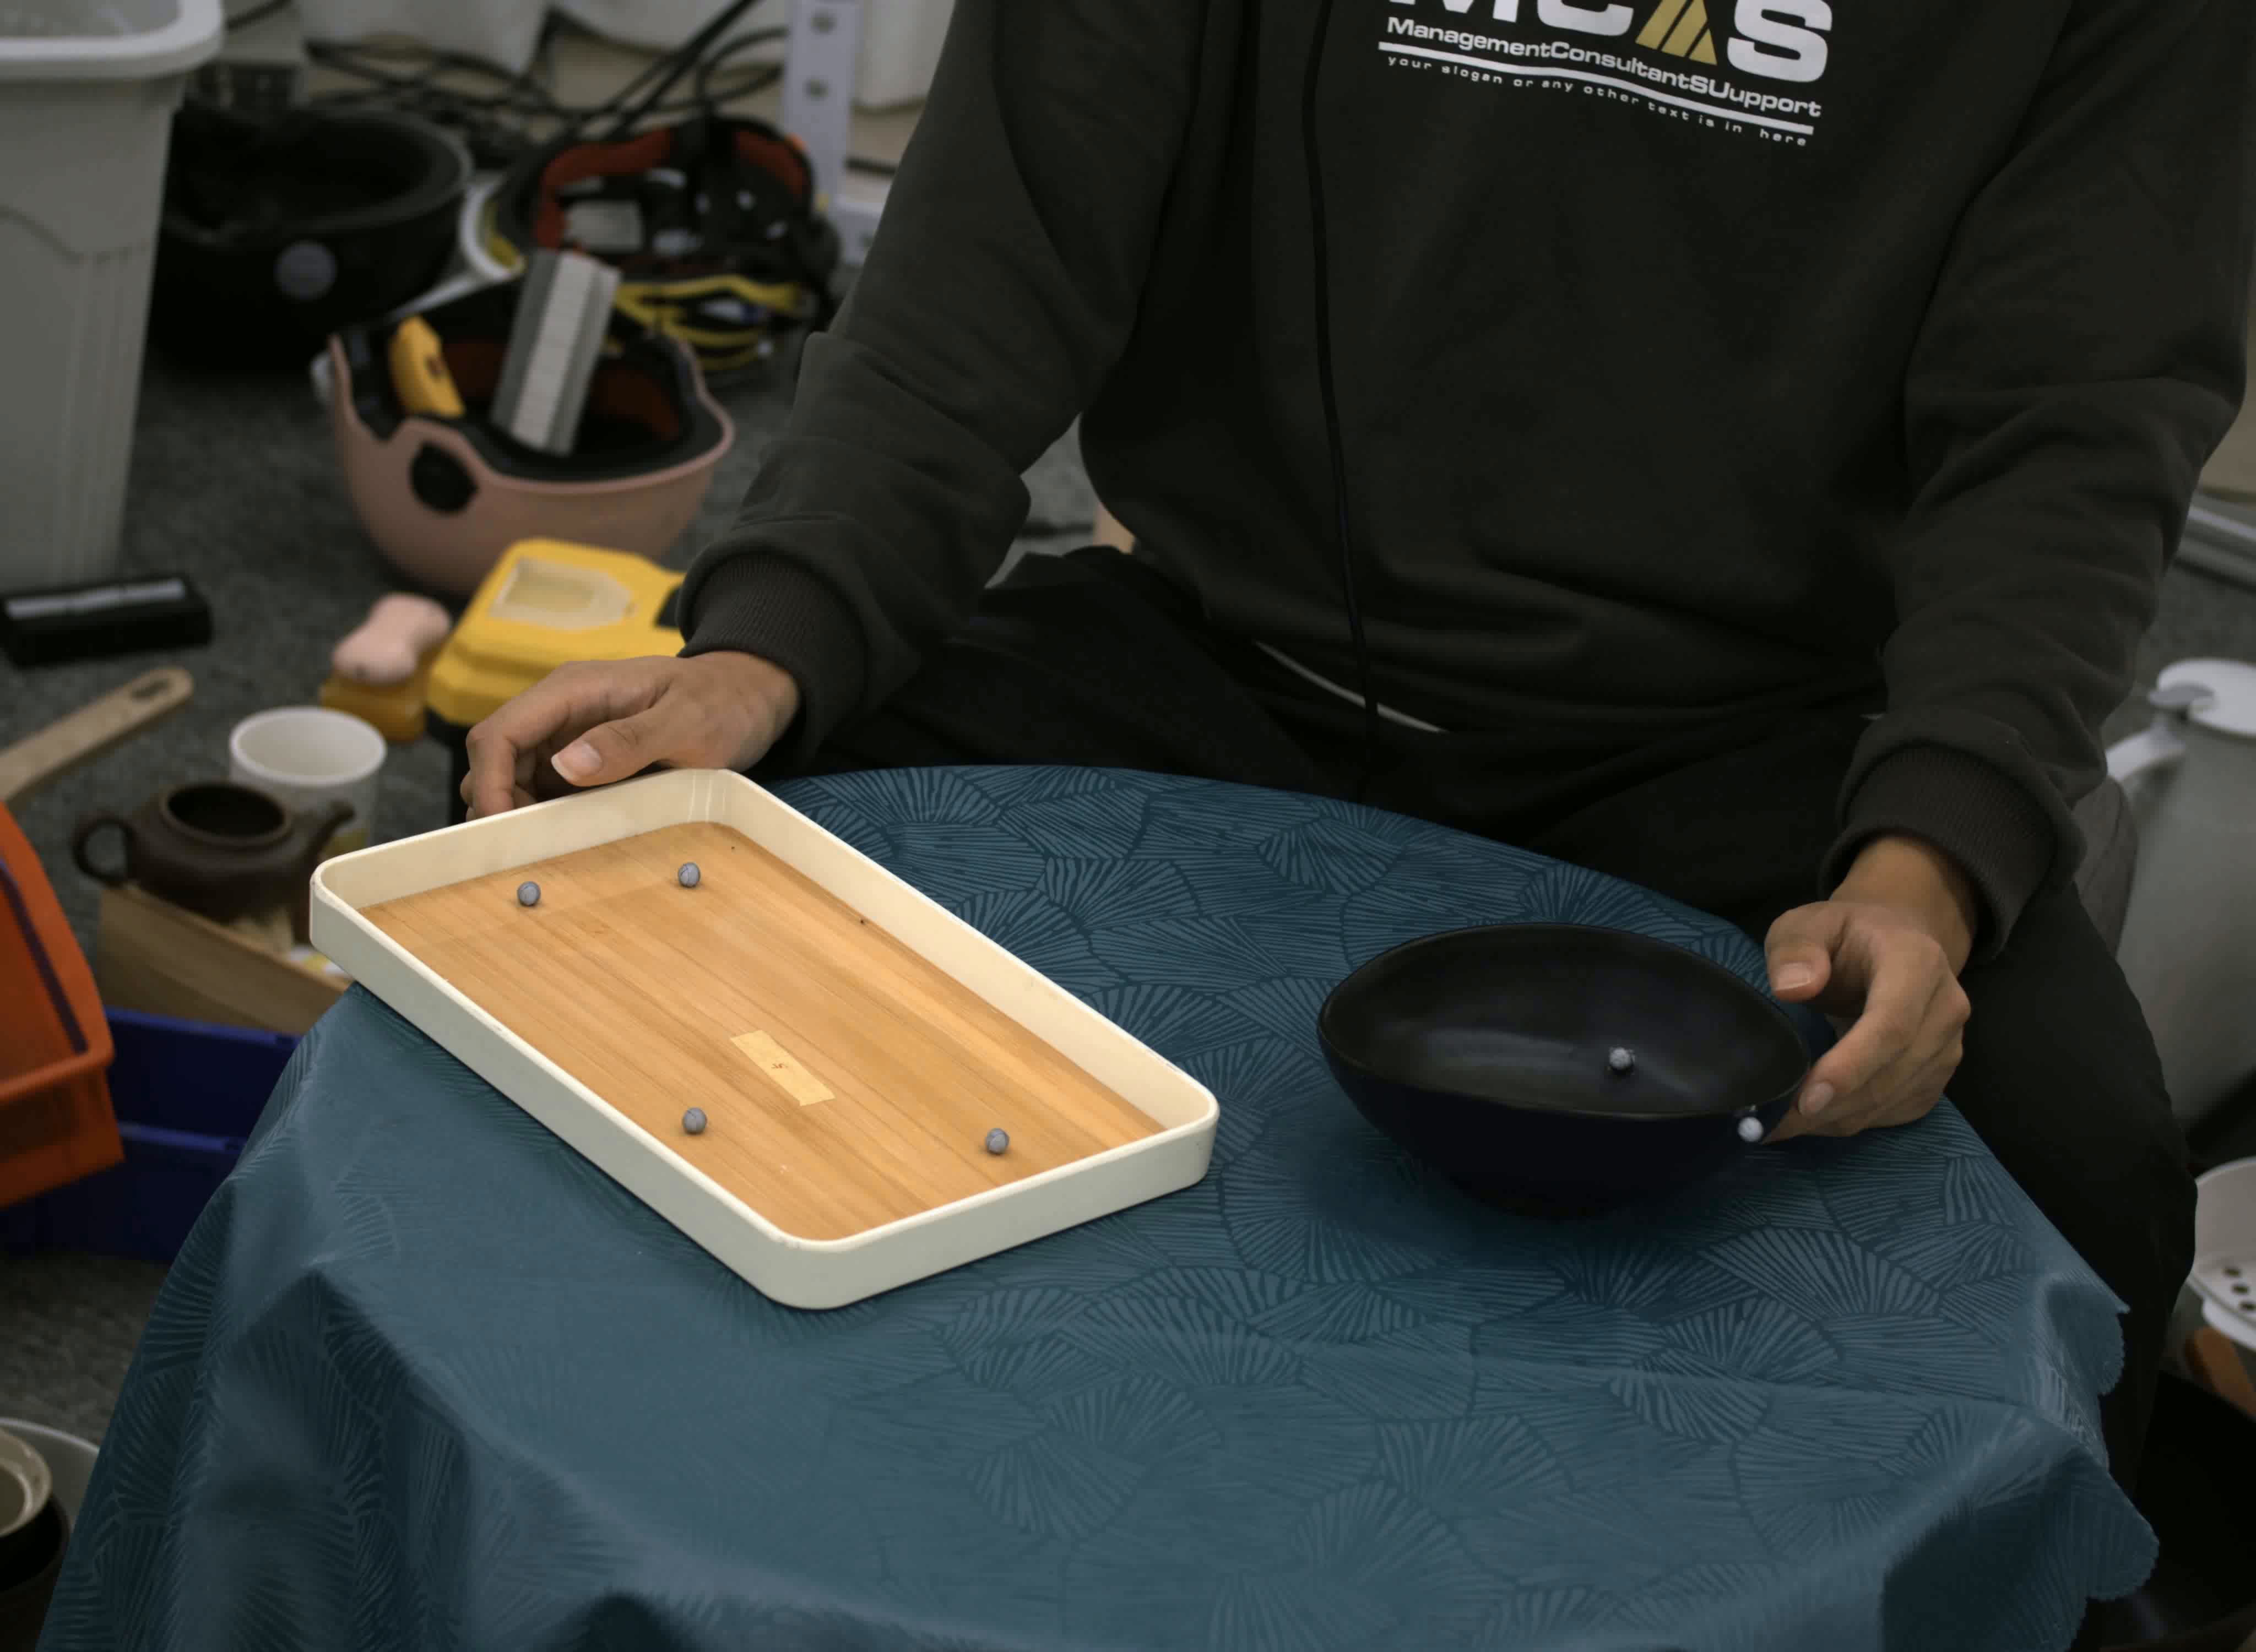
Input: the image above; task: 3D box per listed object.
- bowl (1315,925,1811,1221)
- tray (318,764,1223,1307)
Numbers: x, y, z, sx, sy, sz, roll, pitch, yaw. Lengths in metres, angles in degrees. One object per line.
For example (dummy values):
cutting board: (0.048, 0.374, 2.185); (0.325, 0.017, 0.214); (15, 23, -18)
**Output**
bowl: (0.148, 0.094, 1.835); (0.170, 0.066, 0.138); (4, 25, -3)
tray: (-0.129, 0.067, 1.857); (0.190, 0.027, 0.303); (-16, 35, -38)
